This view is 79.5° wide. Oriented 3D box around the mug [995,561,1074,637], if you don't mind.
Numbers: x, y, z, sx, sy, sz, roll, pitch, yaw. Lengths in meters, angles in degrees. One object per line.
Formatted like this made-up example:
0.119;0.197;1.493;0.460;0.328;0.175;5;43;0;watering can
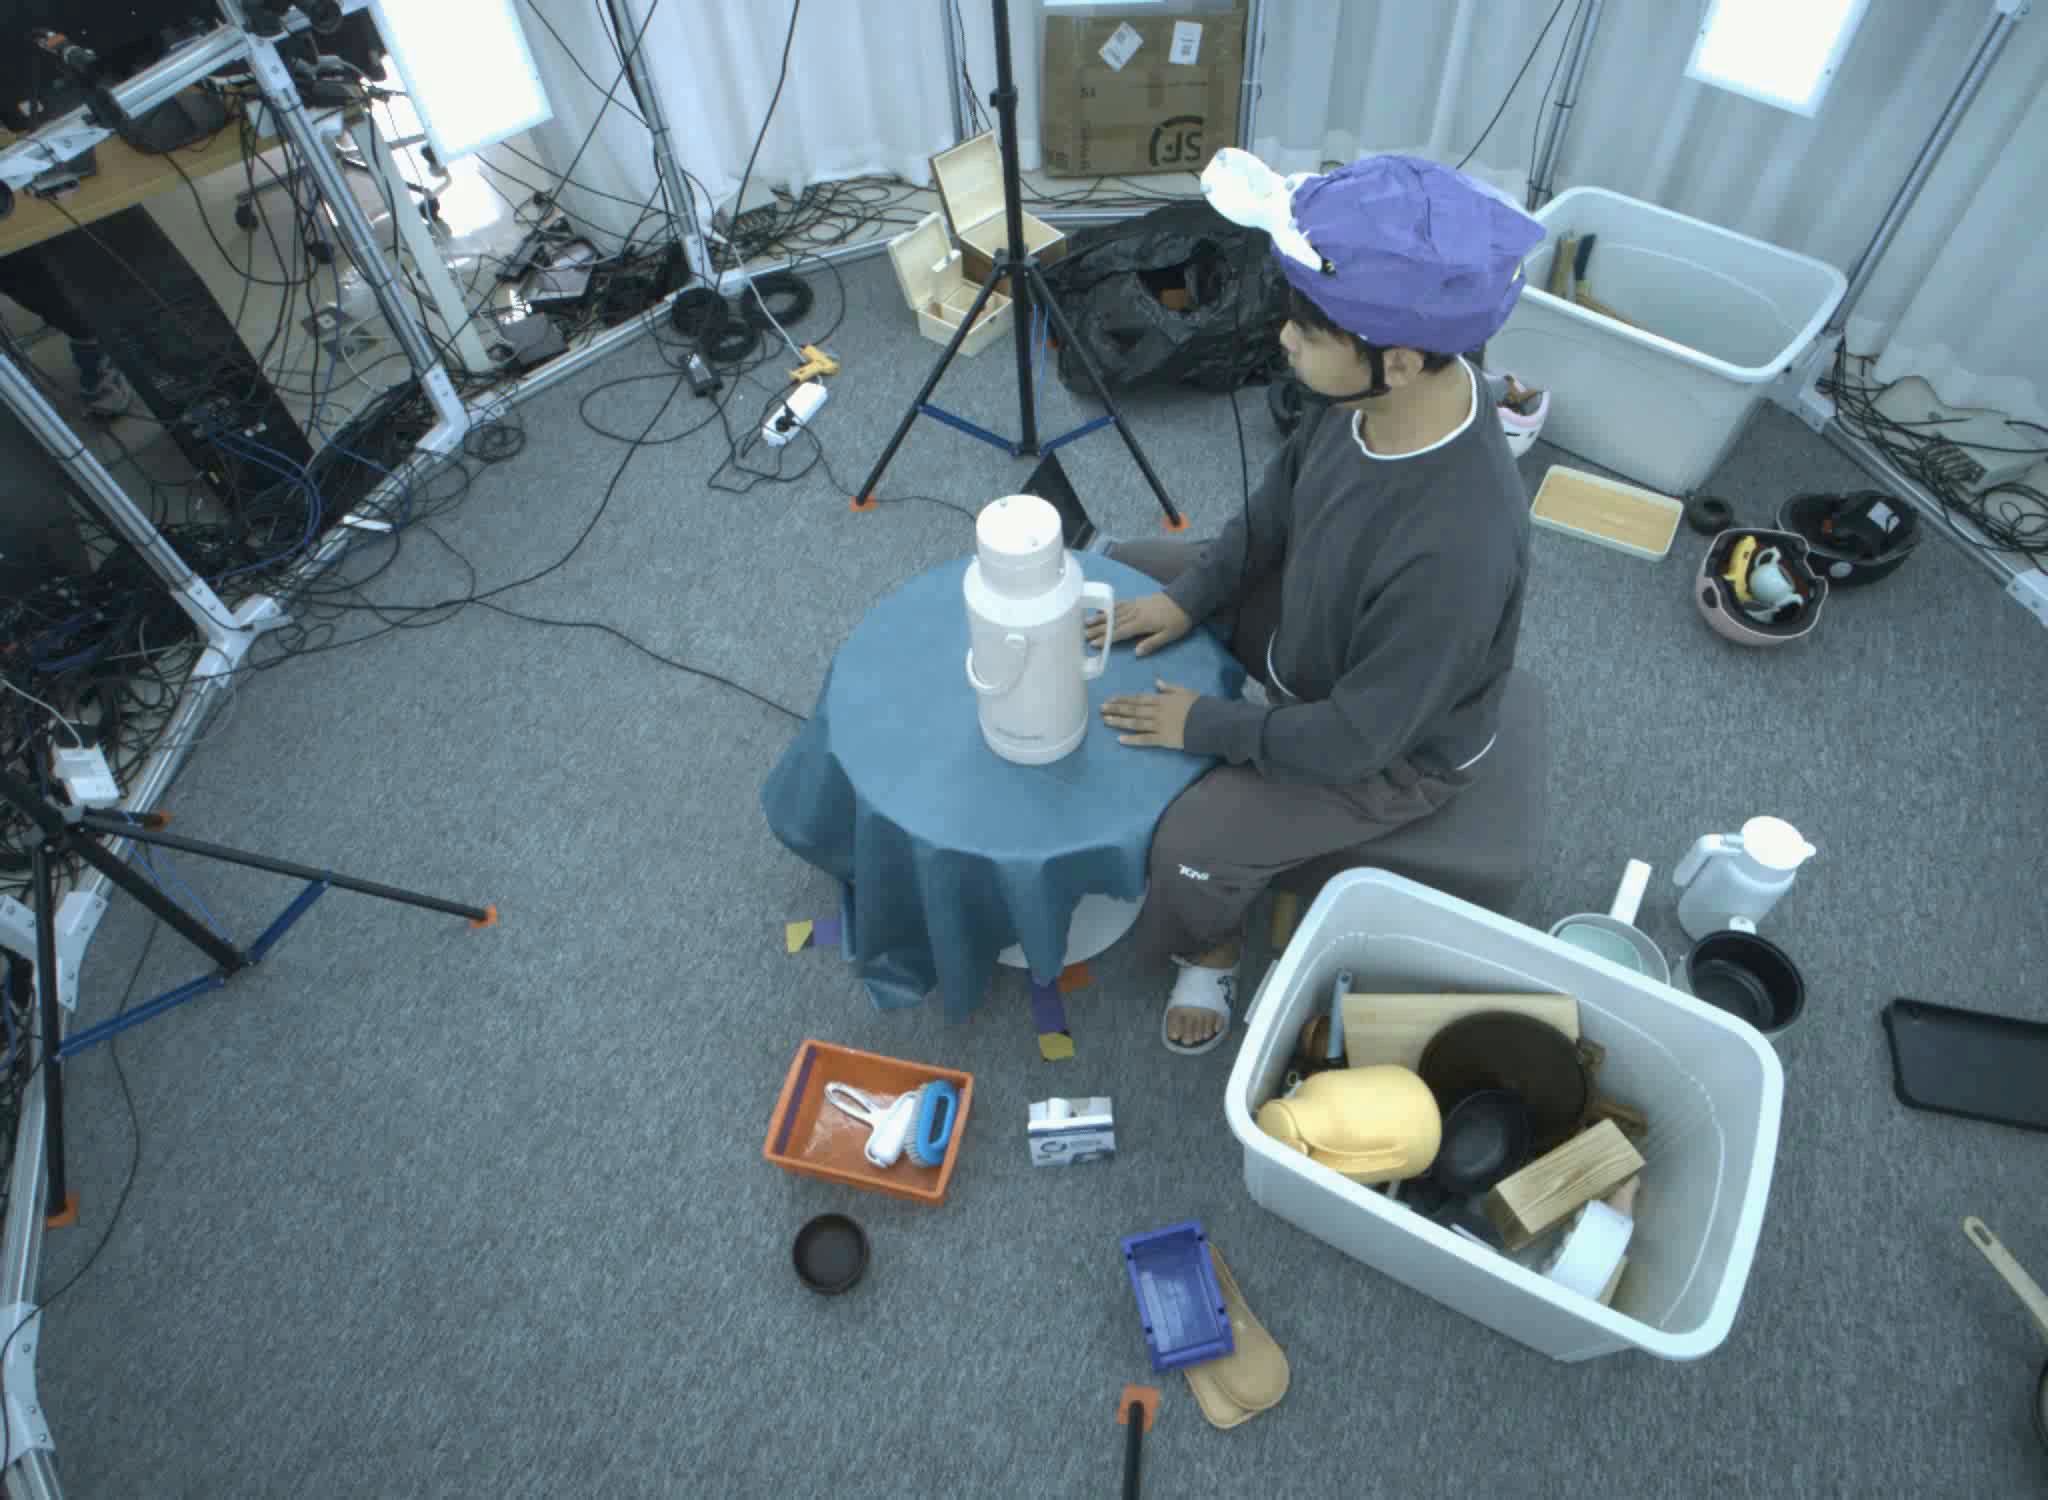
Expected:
0.015;-0.233;1.896;0.123;0.091;0.092;-2;55;1;mug

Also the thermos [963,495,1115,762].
0.018;-0.158;1.655;0.206;0.411;0.174;3;54;6;thermos
